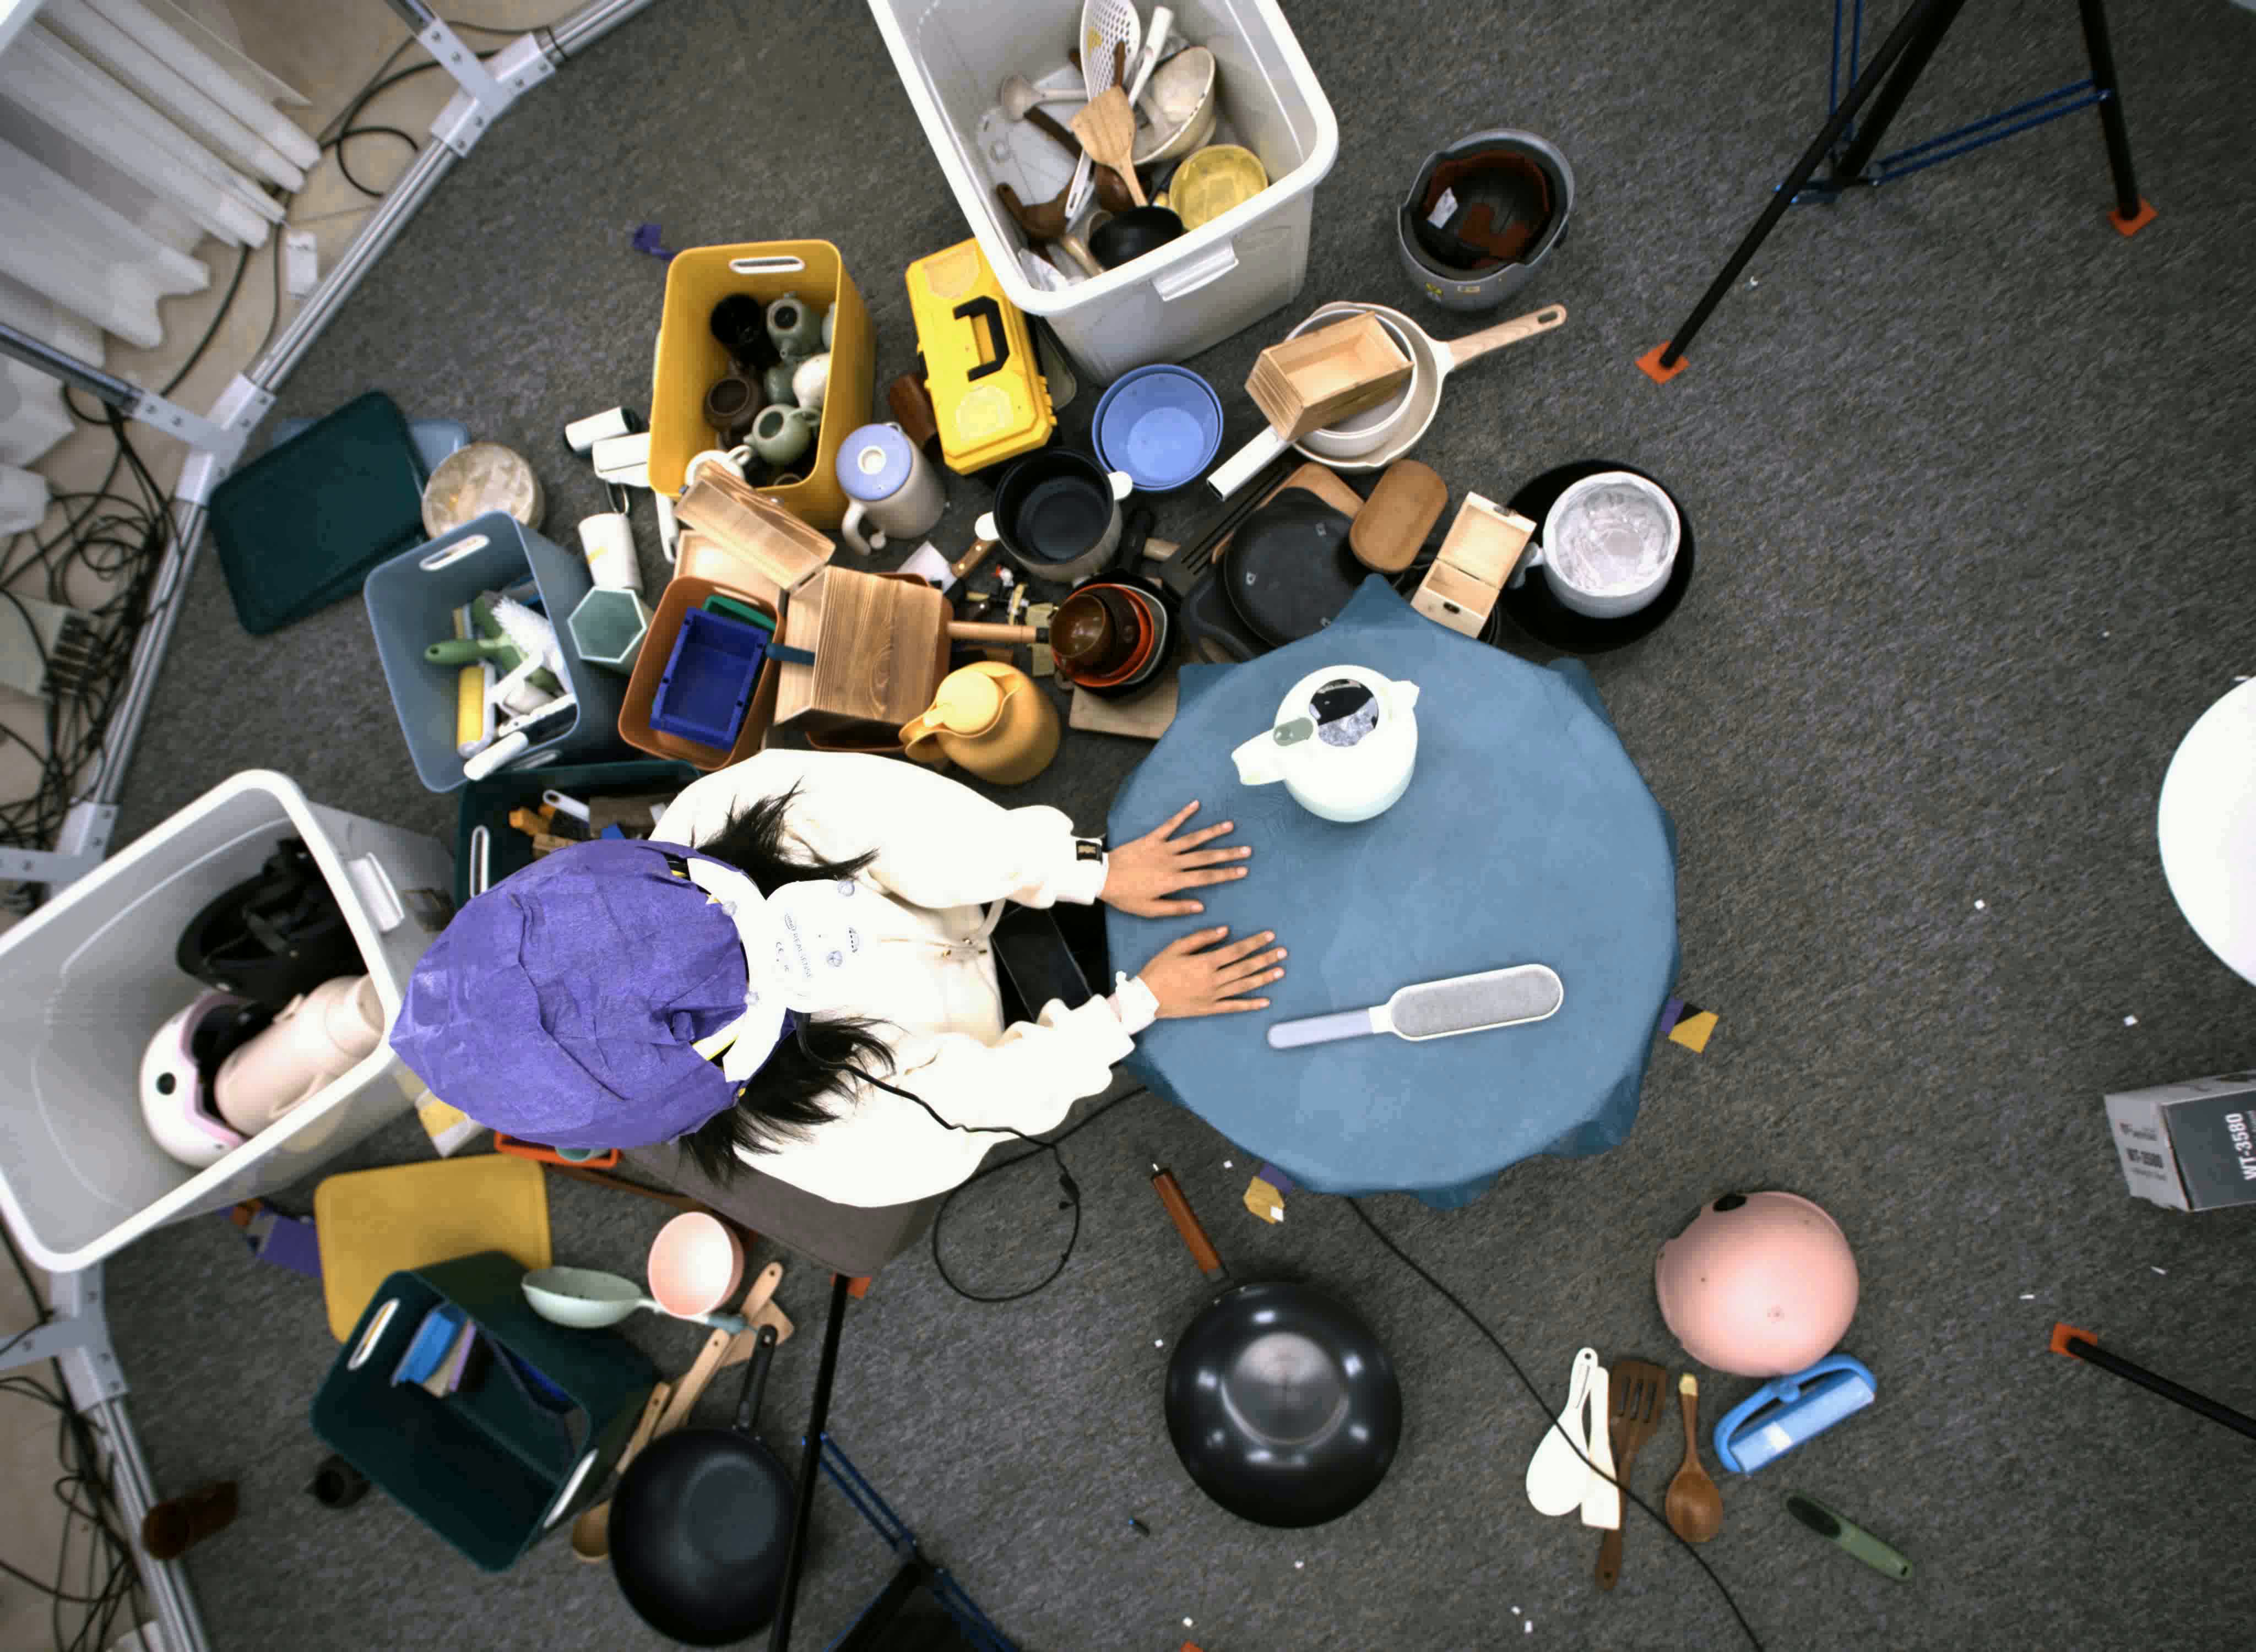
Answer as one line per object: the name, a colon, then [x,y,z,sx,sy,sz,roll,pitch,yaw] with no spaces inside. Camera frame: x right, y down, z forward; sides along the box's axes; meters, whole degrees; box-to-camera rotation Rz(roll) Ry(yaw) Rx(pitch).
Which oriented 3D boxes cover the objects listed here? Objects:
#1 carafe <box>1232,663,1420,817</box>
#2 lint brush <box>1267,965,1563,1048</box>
carafe: [0.200,-0.086,1.356,0.188,0.256,0.143,-20,83,11]
lint brush: [0.296,0.191,1.437,0.310,0.021,0.060,-11,87,10]
